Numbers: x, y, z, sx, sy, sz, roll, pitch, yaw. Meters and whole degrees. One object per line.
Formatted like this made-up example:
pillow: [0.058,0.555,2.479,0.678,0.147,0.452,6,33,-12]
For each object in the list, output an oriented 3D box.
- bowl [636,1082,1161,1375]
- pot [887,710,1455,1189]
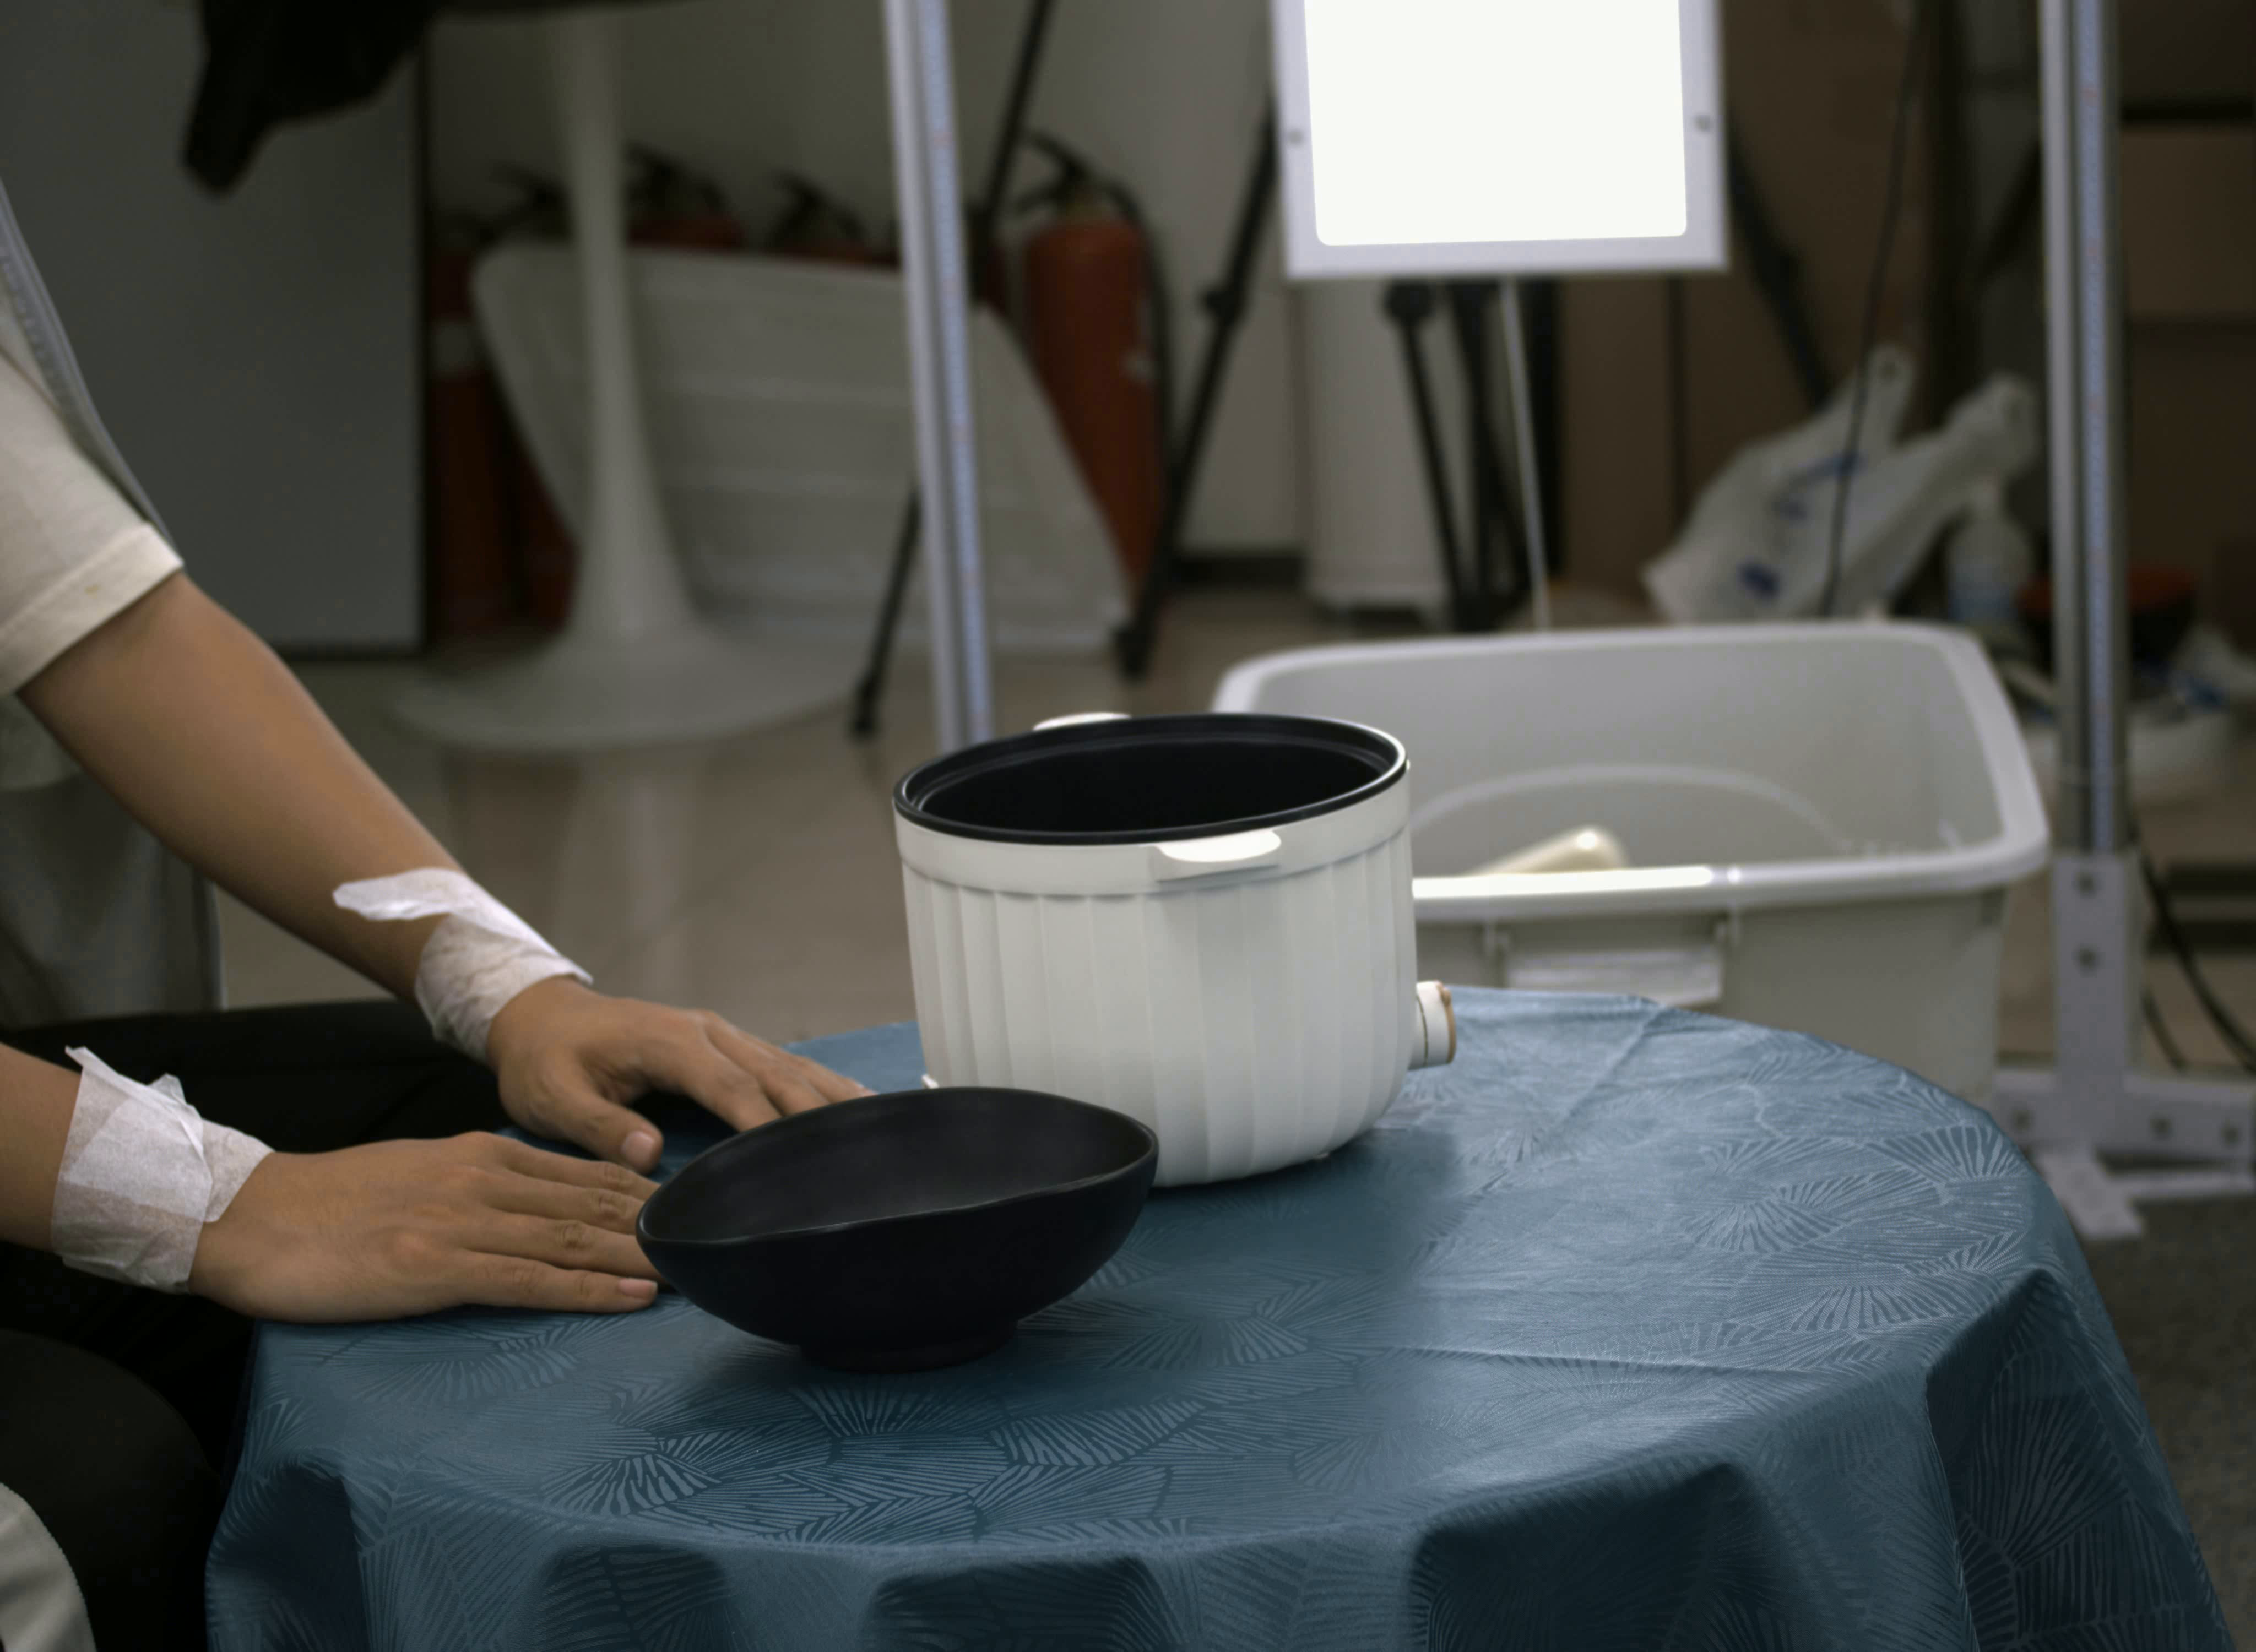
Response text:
bowl: [-0.070,0.134,1.756,0.168,0.067,0.138,-9,13,-11]
pot: [0.017,0.044,1.938,0.188,0.143,0.242,-11,15,-11]
